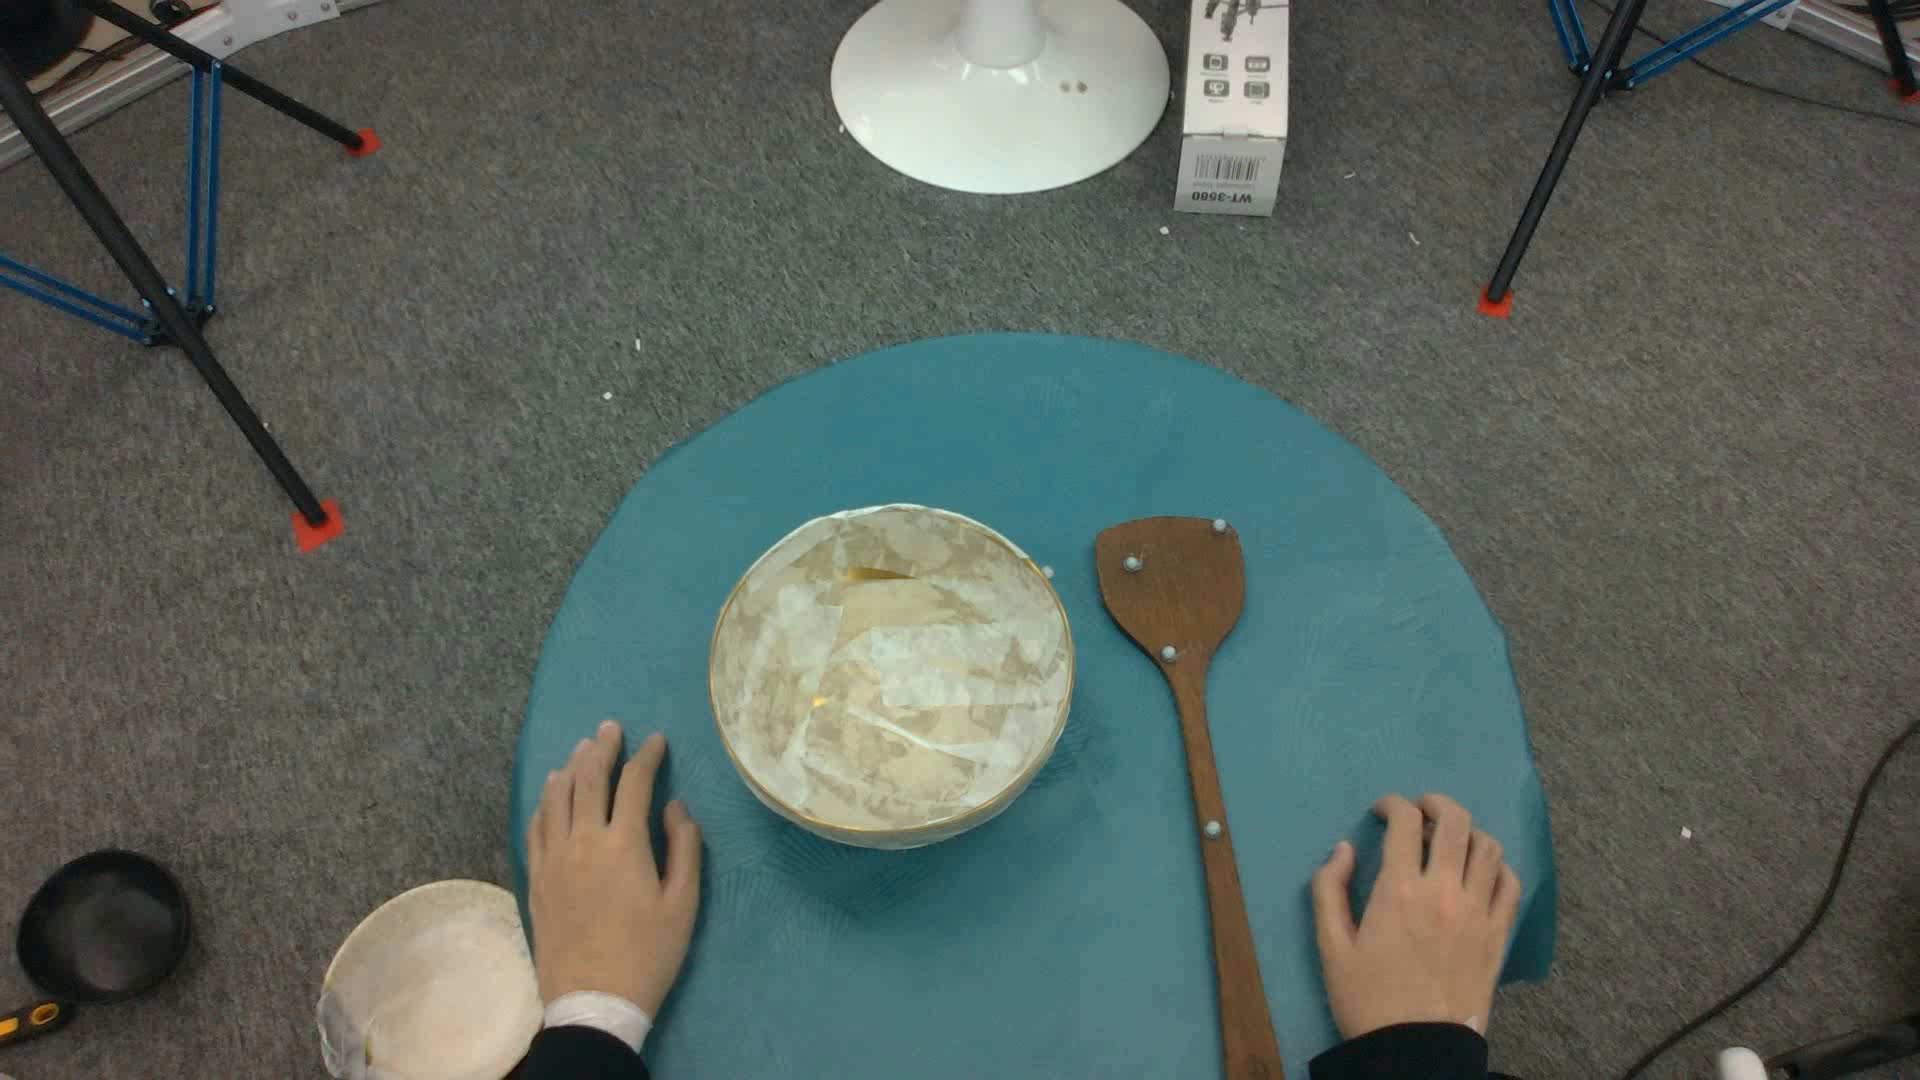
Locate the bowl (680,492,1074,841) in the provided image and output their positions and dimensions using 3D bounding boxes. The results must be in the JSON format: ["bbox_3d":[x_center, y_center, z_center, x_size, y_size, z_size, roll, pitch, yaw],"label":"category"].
[{"bbox_3d":[-0.043,0.083,0.779,0.215,0.094,0.215,1,58,-1],"label":"bowl"}]

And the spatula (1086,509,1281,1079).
[{"bbox_3d":[0.138,0.143,0.787,0.096,0.016,0.387,-3,57,-2],"label":"spatula"}]
